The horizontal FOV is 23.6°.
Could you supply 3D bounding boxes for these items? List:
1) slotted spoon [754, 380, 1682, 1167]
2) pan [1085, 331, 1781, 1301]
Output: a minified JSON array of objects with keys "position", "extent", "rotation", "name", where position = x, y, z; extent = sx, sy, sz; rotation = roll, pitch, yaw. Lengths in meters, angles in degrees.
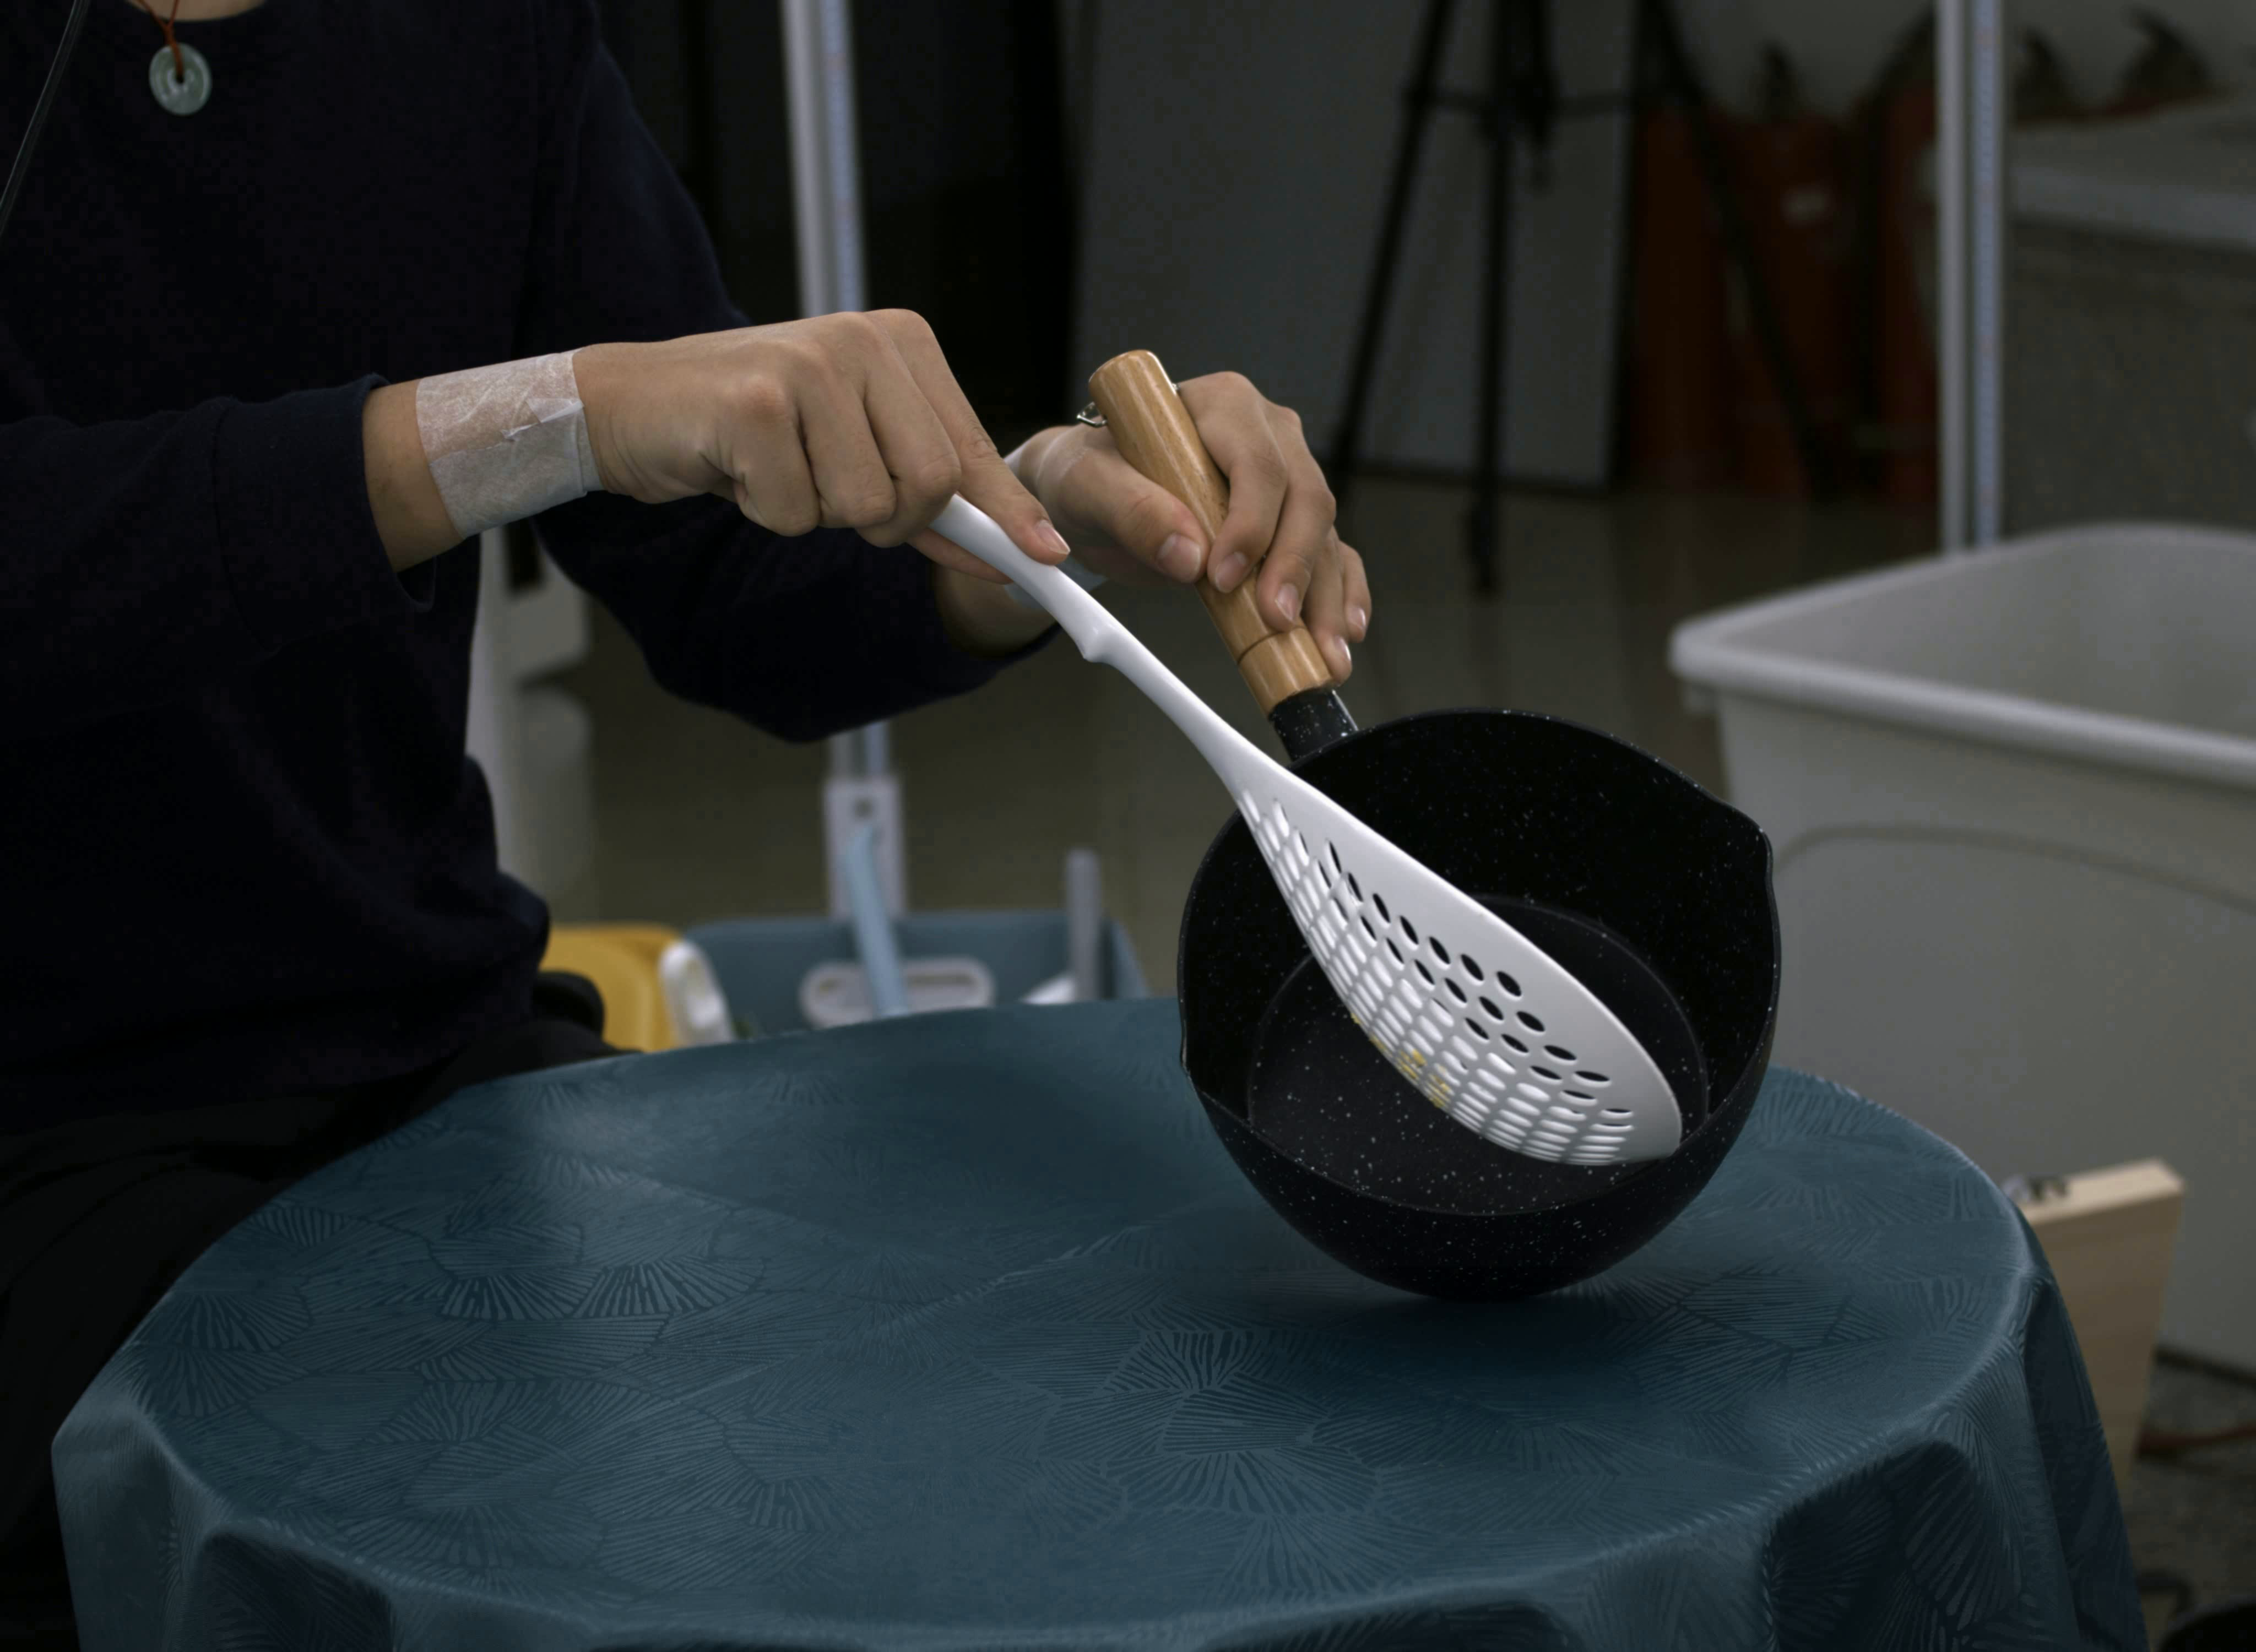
[{"position":[0.024,-0.018,1.579],"extent":[0.050,0.349,0.137],"rotation":[-41,-10,-12],"name":"slotted spoon"},{"position":[0.070,-0.004,1.689],"extent":[0.205,0.108,0.347],"rotation":[-25,58,-11],"name":"pan"}]
